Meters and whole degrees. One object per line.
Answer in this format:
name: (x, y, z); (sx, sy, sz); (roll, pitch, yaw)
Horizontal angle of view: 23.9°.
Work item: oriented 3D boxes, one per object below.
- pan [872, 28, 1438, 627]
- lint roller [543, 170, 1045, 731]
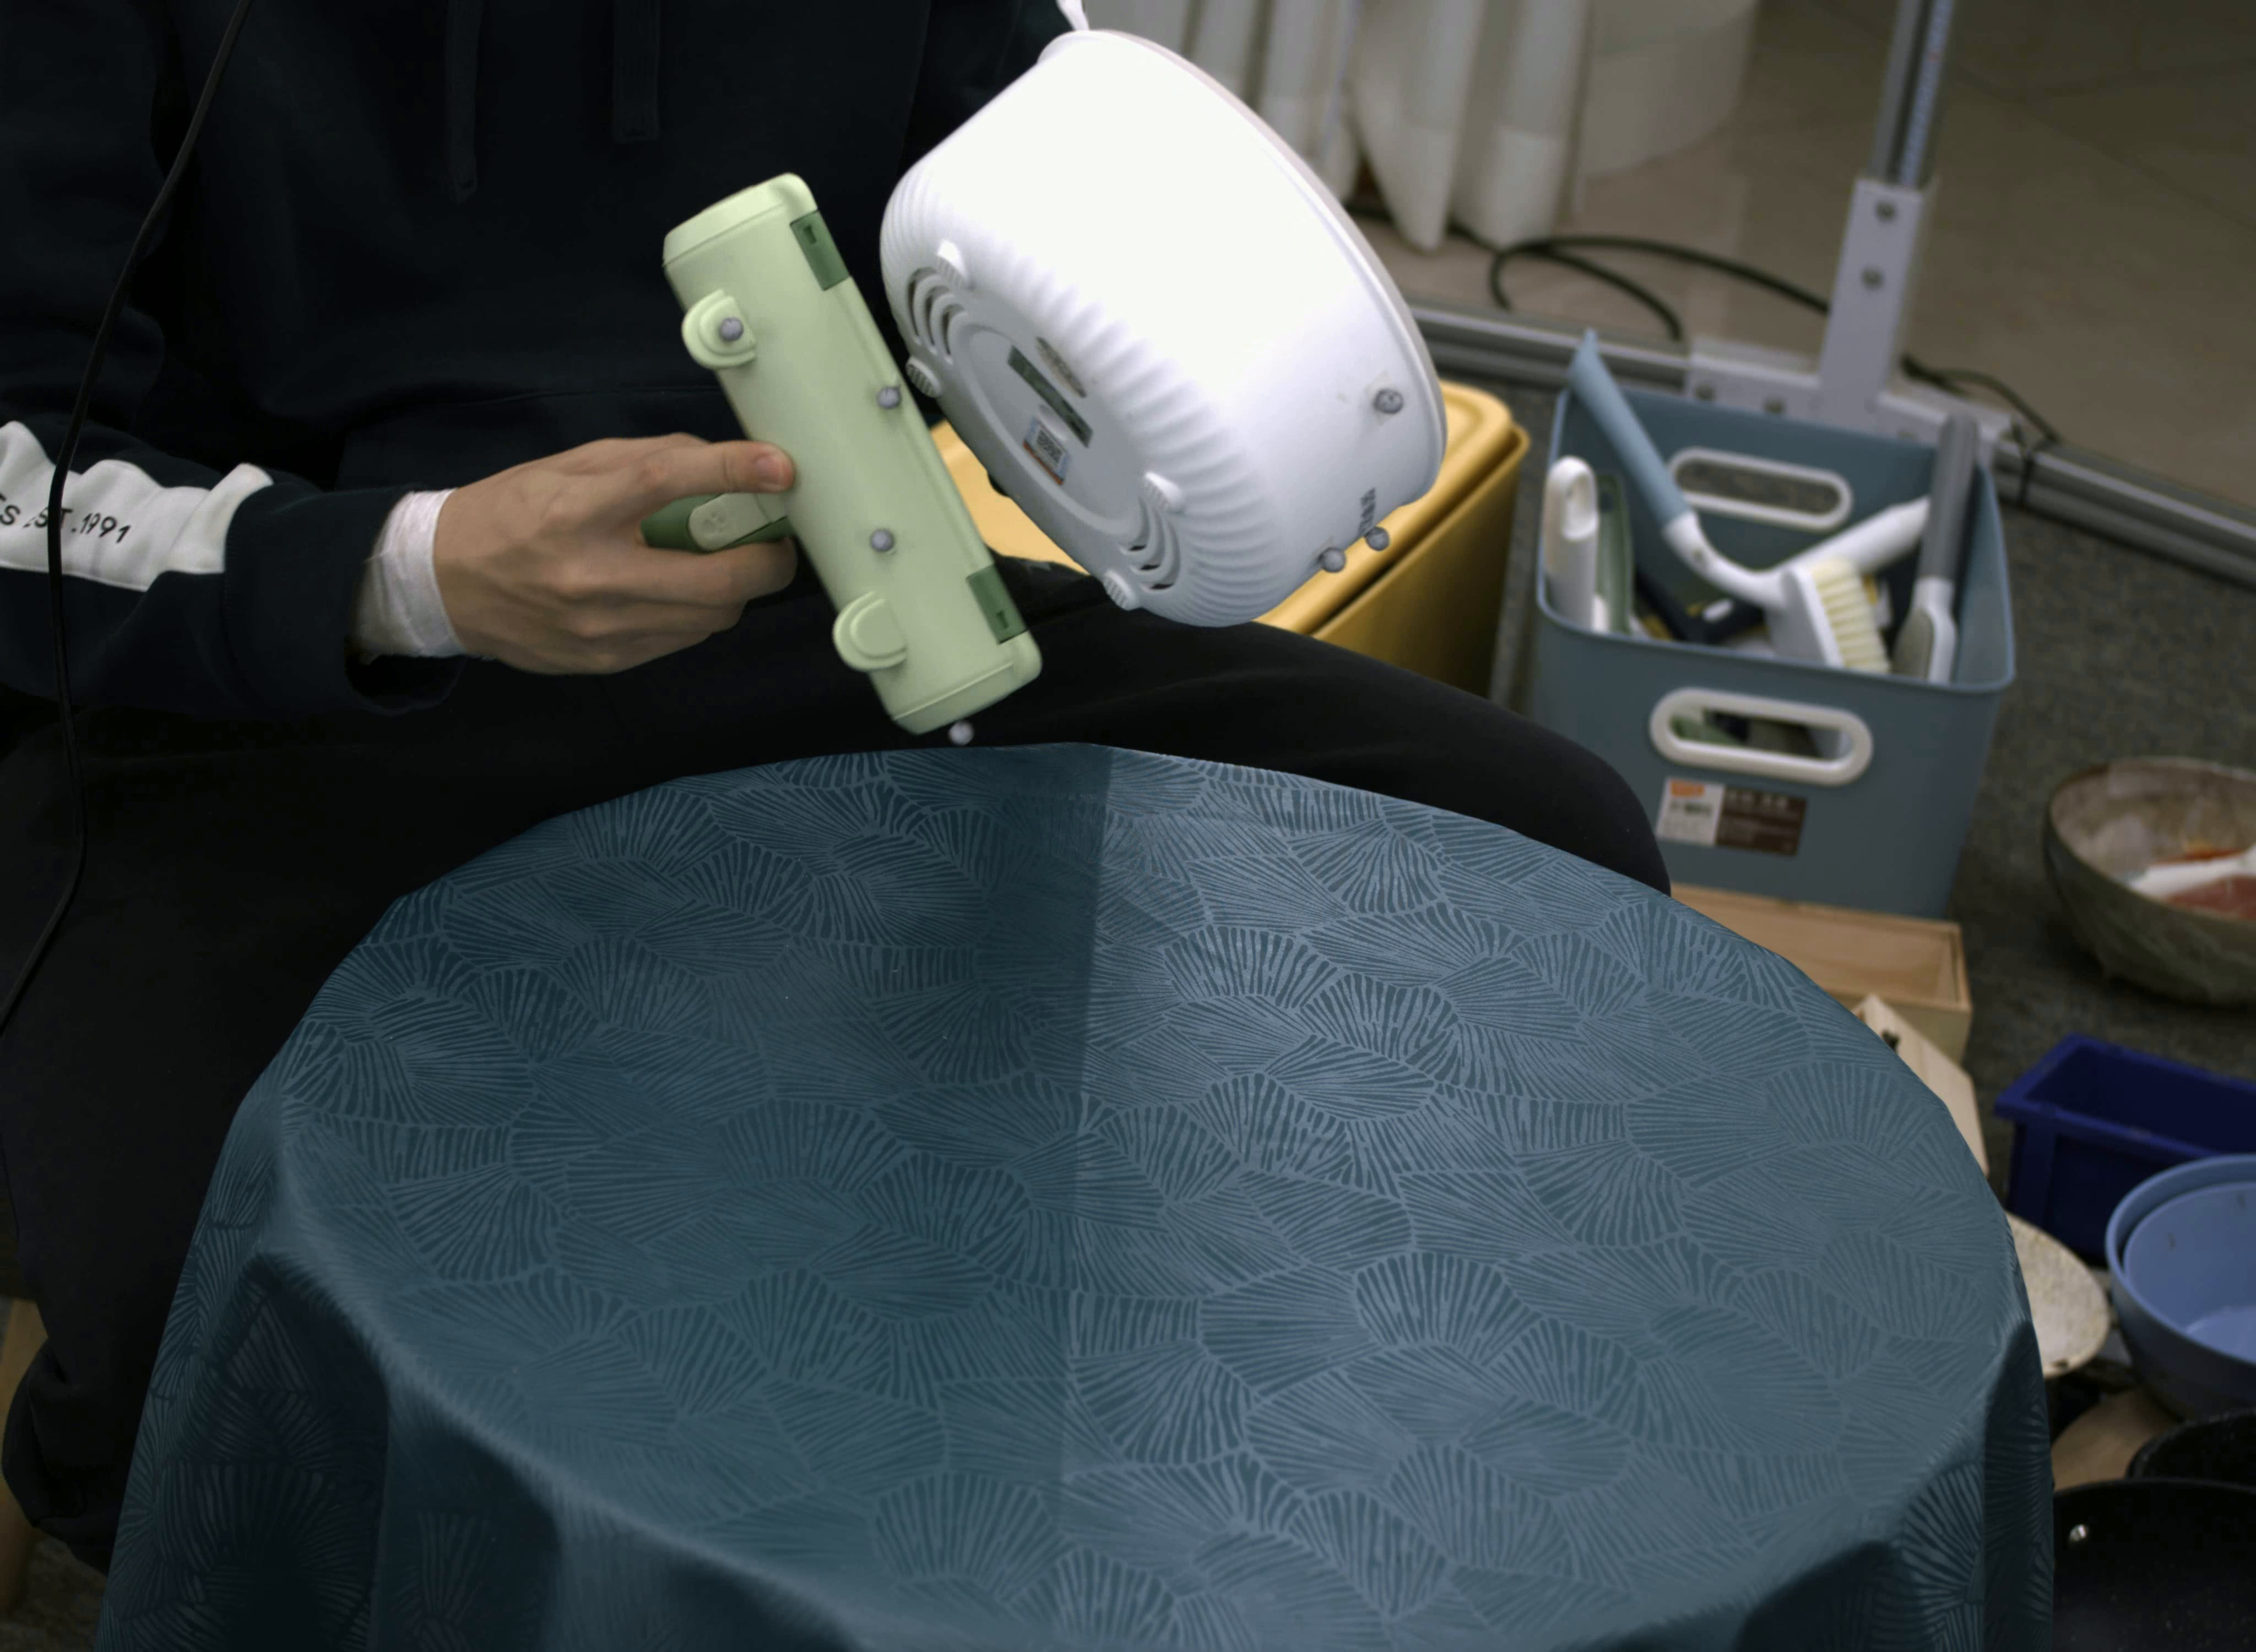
pan: (-0.008, -0.140, 1.887); (0.102, 0.354, 0.202); (-40, 82, -17)
lint roller: (-0.144, -0.106, 1.867); (0.183, 0.198, 0.082); (-25, 5, 25)
